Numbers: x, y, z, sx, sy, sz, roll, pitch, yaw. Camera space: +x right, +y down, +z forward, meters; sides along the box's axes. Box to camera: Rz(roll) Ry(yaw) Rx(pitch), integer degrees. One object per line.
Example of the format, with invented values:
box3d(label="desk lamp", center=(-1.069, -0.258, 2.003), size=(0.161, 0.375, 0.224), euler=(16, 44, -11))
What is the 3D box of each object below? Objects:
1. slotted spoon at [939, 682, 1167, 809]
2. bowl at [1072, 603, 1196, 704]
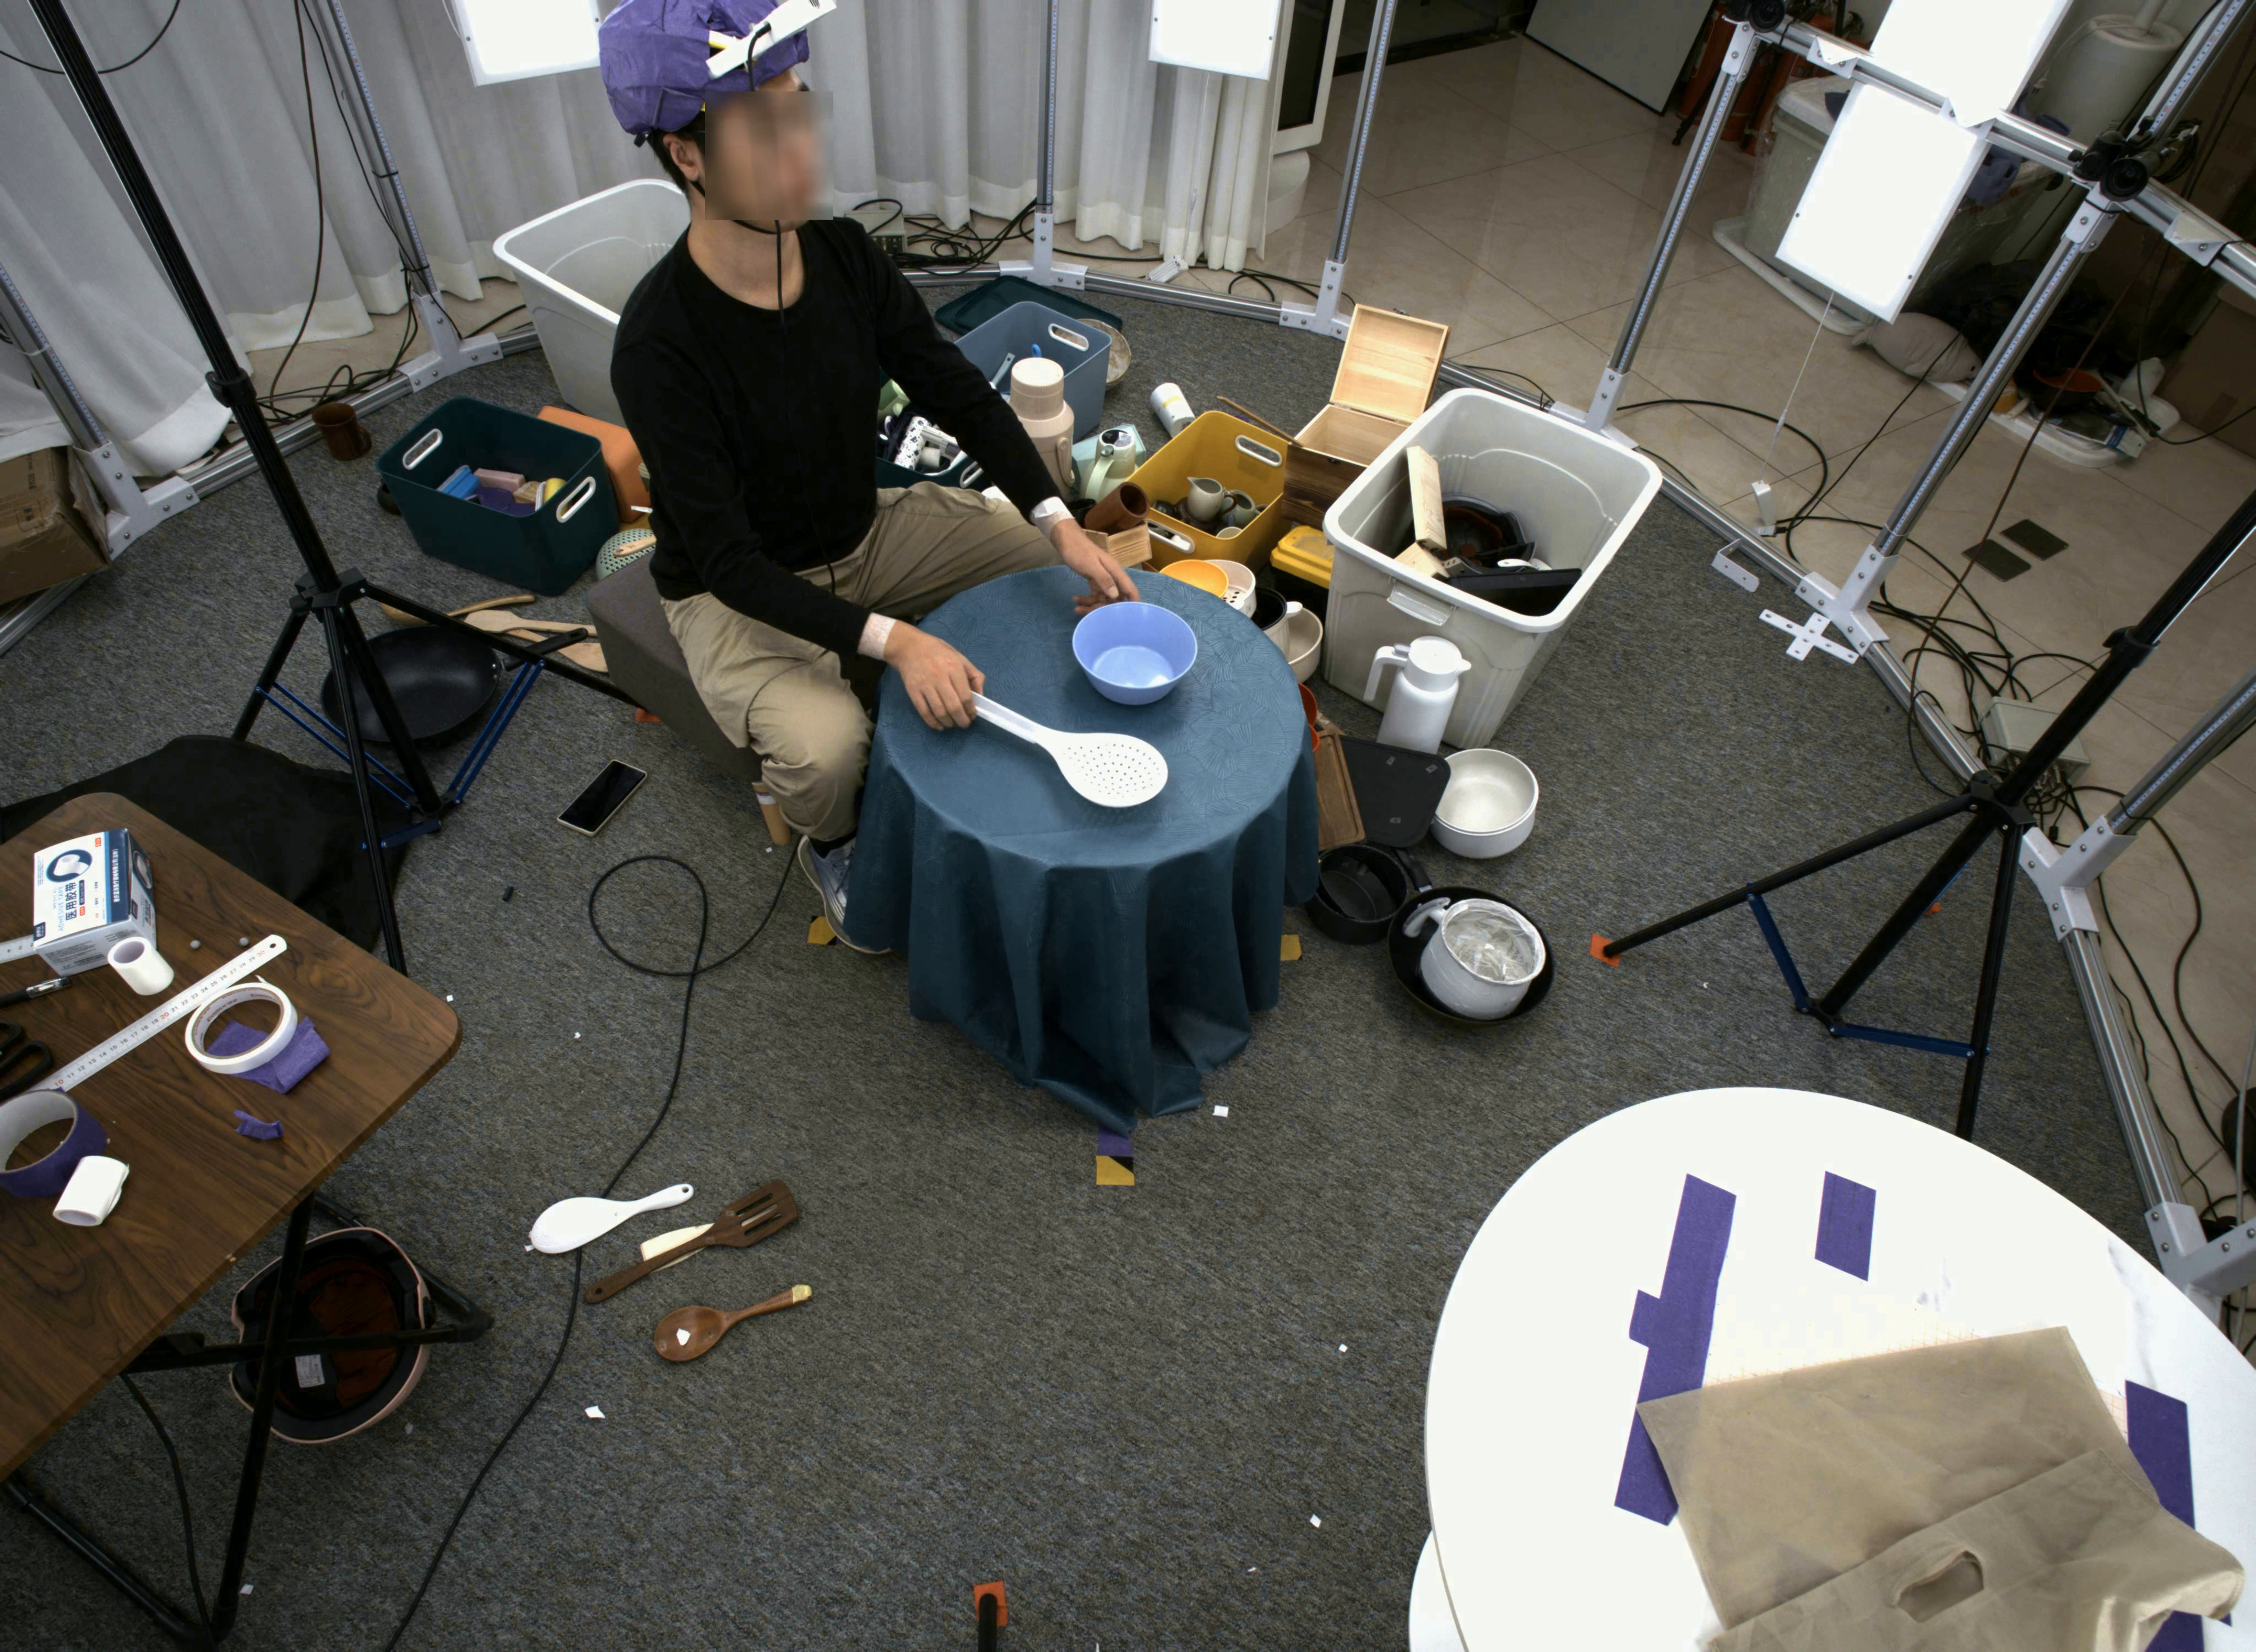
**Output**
box3d(label="slotted spoon", center=(-0.108, -0.115, 1.724), size=(0.353, 0.044, 0.138), euler=(30, 50, 17))
box3d(label="bowl", center=(0.007, -0.237, 1.832), size=(0.176, 0.068, 0.180), euler=(1, 49, -2))
